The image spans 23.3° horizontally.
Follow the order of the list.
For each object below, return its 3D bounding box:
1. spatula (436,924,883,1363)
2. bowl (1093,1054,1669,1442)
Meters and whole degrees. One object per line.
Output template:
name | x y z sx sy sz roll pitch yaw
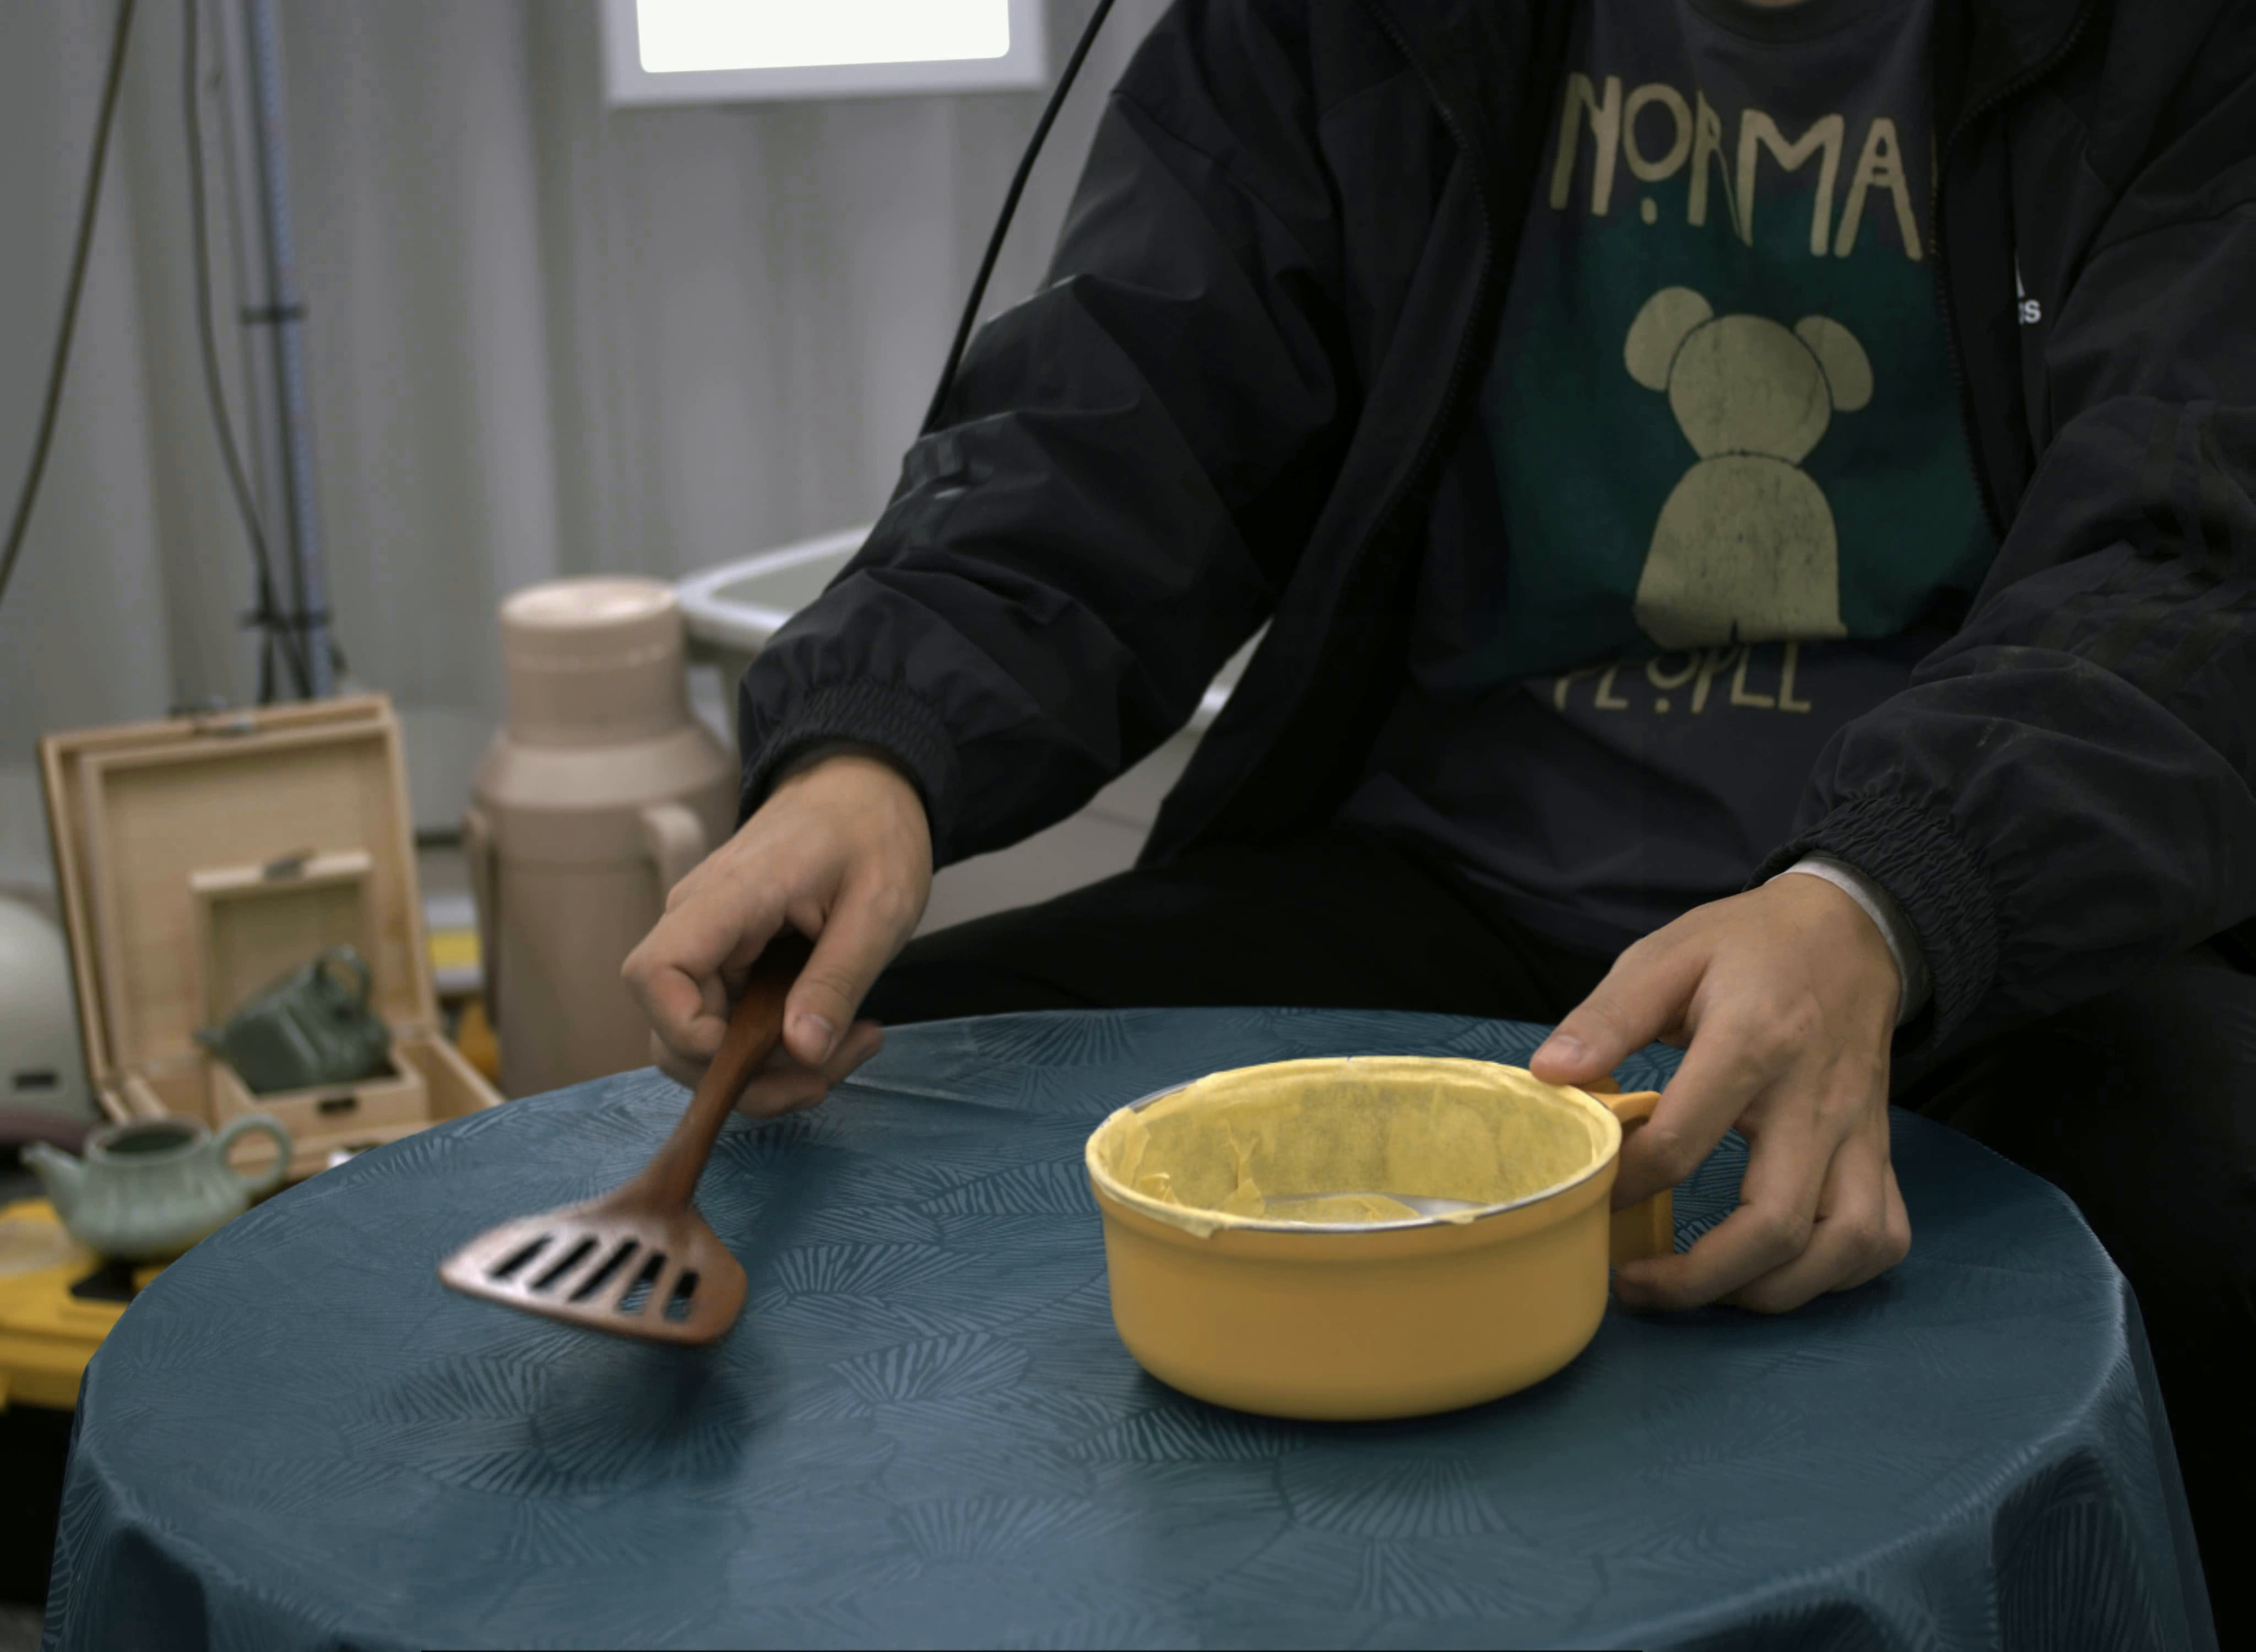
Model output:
spatula | -0.126 0.094 1.693 0.085 0.024 0.389 12 19 6
bowl | 0.079 0.120 1.561 0.179 0.074 0.154 -14 19 -35
